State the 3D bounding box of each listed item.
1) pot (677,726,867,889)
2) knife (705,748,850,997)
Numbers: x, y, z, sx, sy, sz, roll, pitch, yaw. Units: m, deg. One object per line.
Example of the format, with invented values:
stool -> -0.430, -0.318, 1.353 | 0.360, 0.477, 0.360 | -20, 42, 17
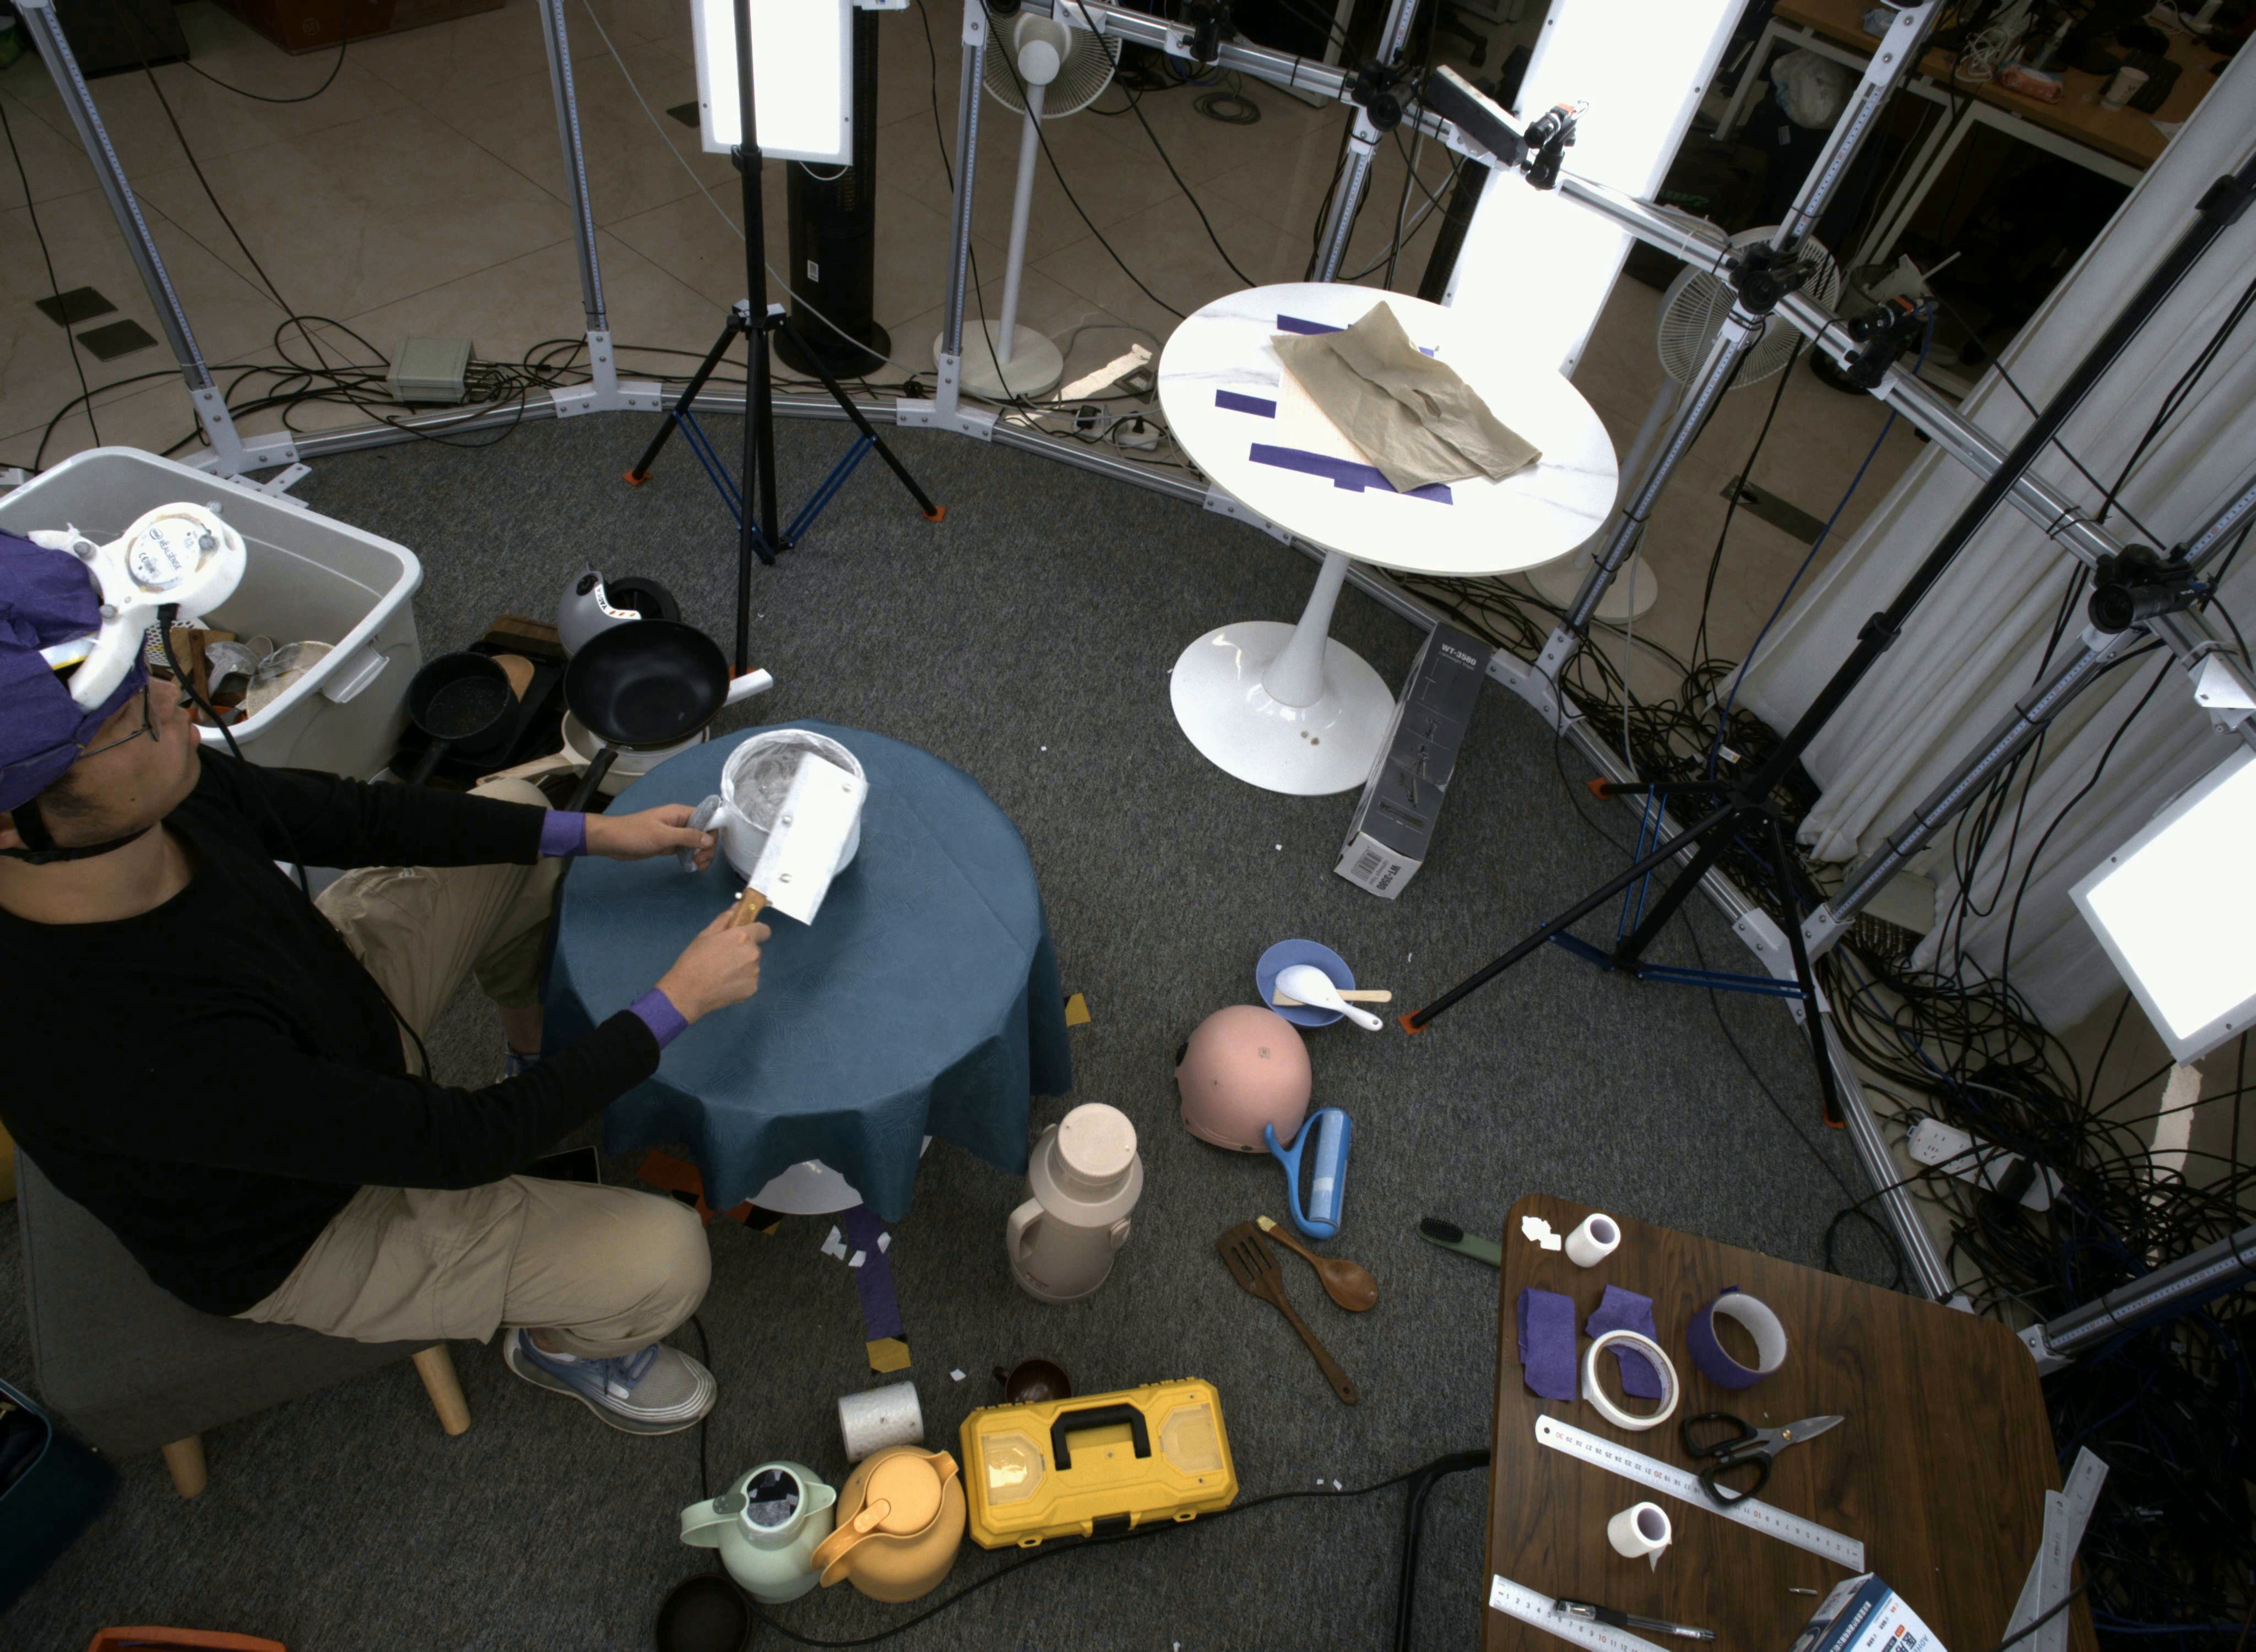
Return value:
pot -> -0.448, -0.011, 1.623 | 0.236, 0.139, 0.174 | -17, 58, -32
knife -> -0.403, 0.060, 1.514 | 0.095, 0.020, 0.305 | 28, 70, -30
